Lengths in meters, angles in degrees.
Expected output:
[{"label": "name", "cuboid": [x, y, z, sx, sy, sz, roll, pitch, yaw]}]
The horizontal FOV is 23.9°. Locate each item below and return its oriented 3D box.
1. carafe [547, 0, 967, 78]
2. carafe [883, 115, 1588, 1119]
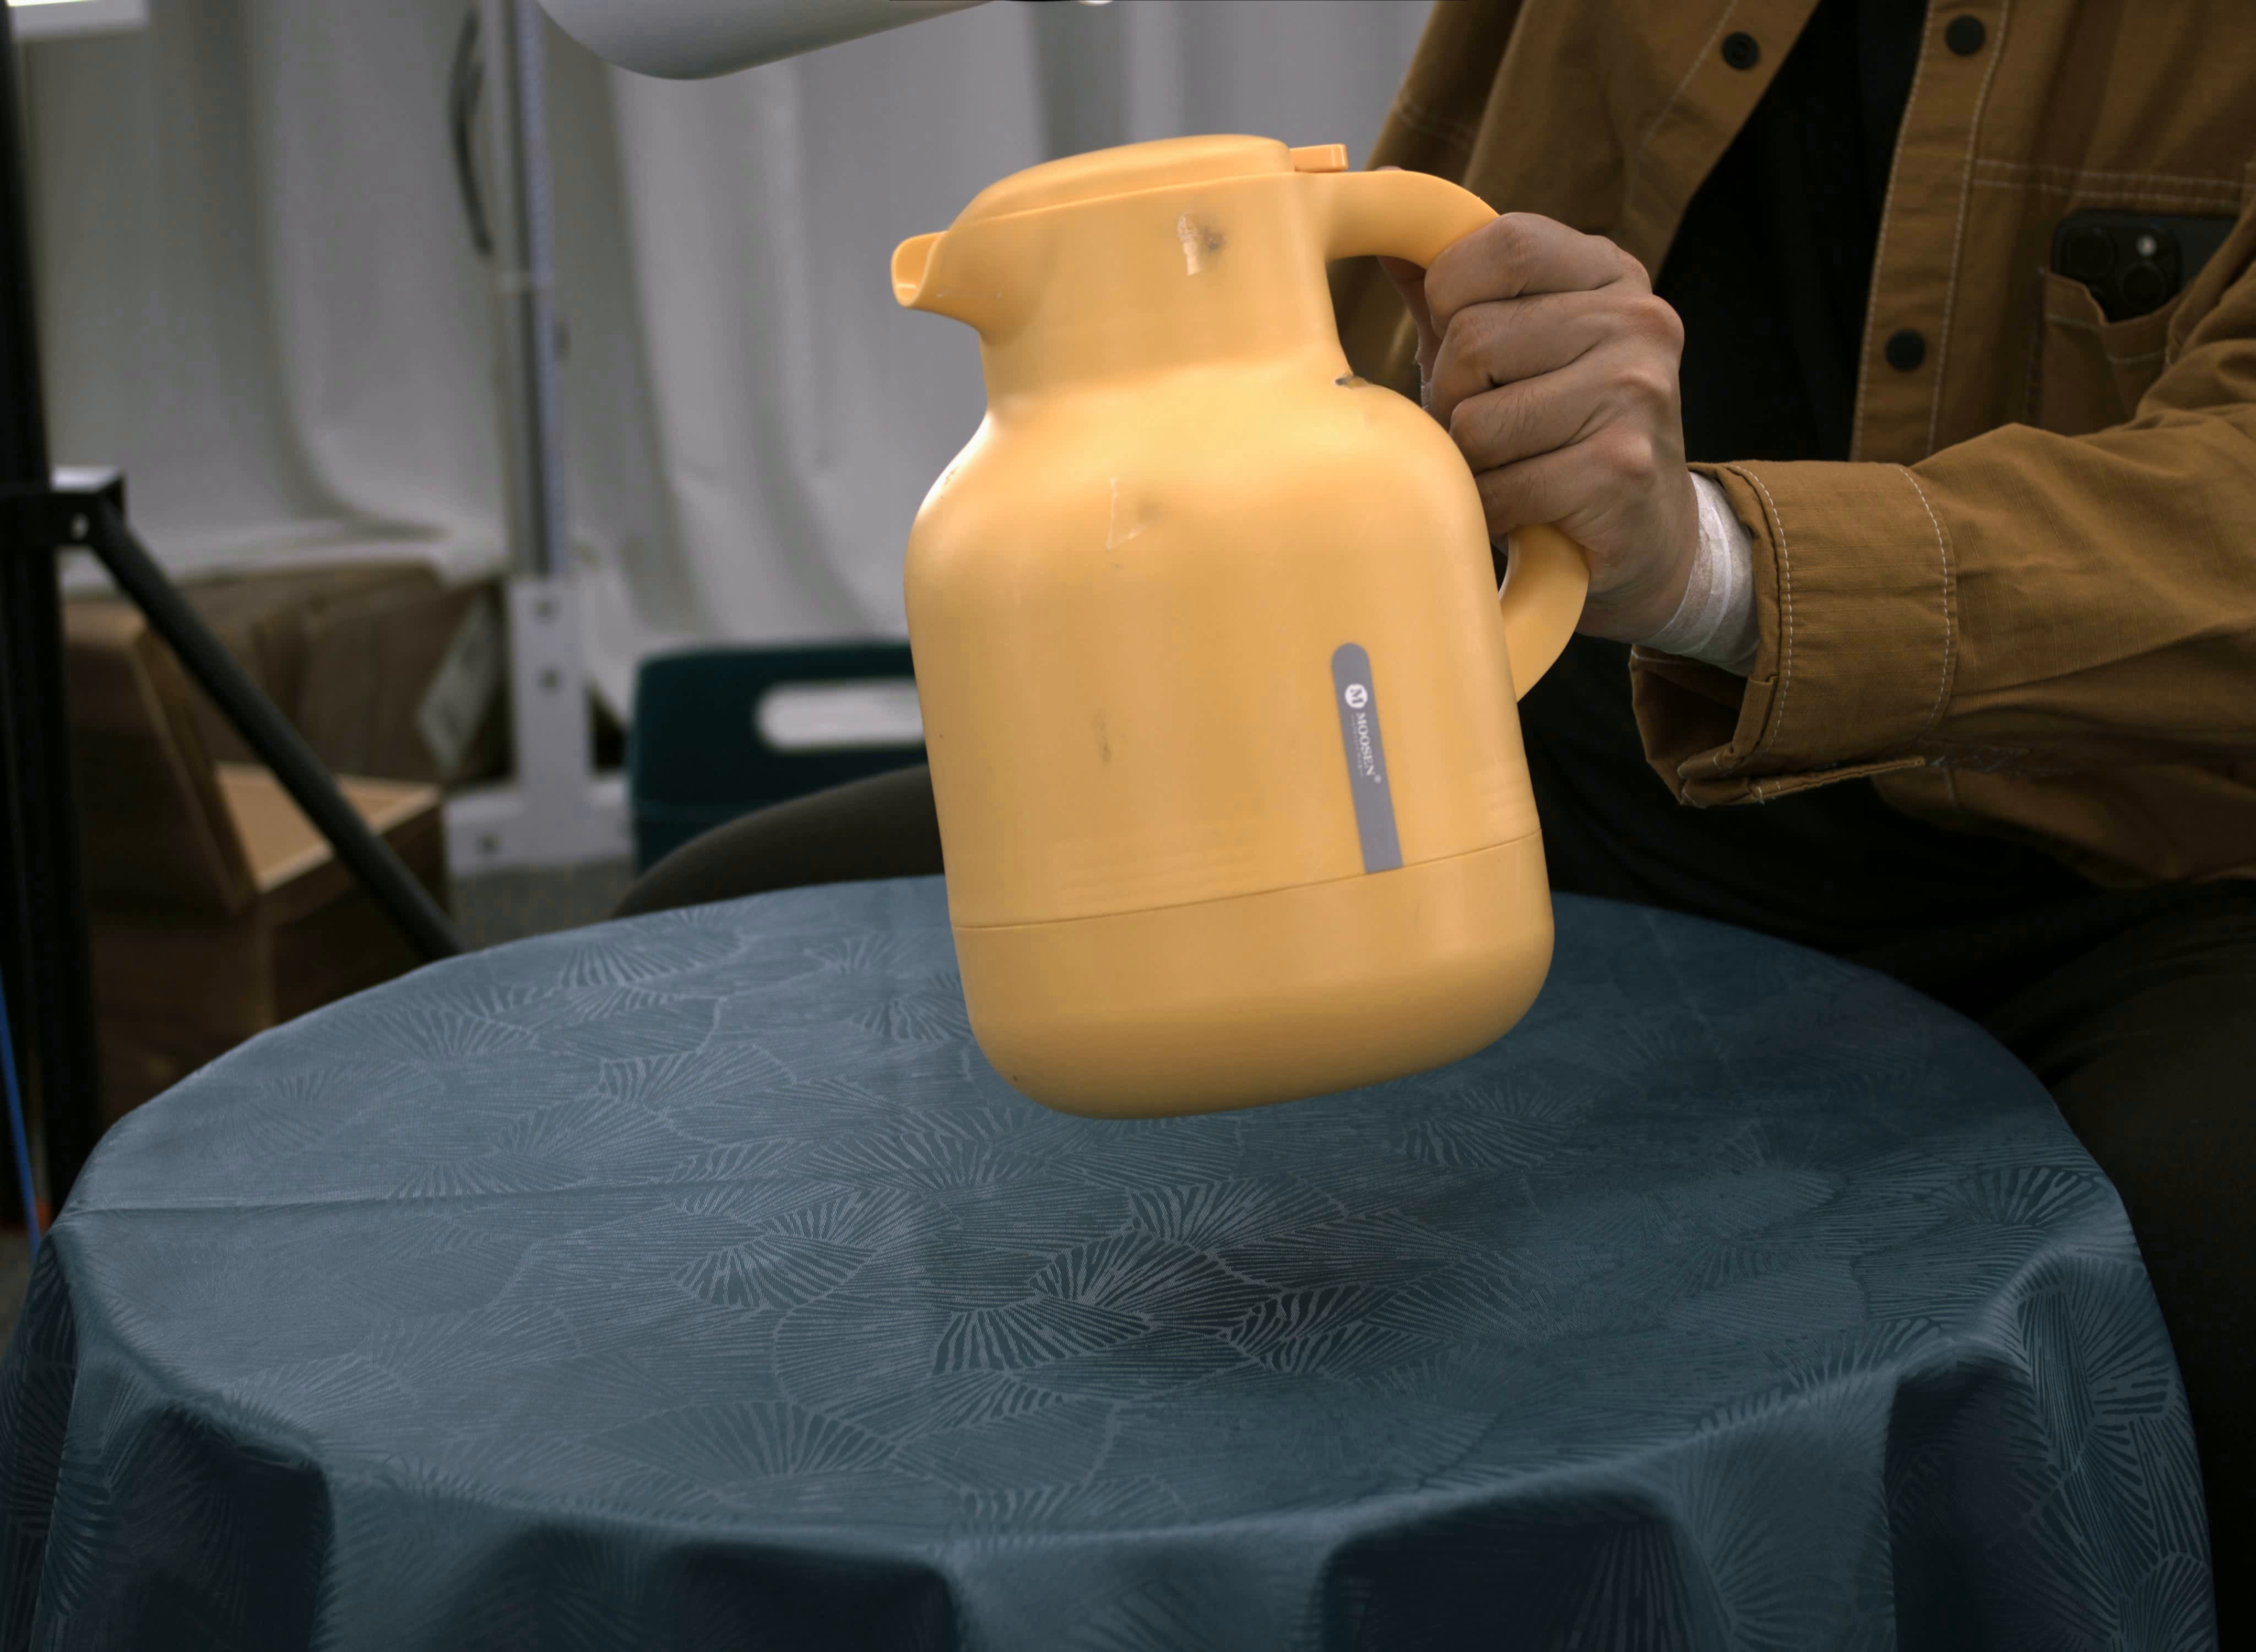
[{"label": "carafe", "cuboid": [-0.090, -0.305, 1.548, 0.122, 0.172, 0.273, -27, 11, -22]}, {"label": "carafe", "cuboid": [0.038, -0.062, 1.449, 0.198, 0.261, 0.166, -12, 6, -24]}]
